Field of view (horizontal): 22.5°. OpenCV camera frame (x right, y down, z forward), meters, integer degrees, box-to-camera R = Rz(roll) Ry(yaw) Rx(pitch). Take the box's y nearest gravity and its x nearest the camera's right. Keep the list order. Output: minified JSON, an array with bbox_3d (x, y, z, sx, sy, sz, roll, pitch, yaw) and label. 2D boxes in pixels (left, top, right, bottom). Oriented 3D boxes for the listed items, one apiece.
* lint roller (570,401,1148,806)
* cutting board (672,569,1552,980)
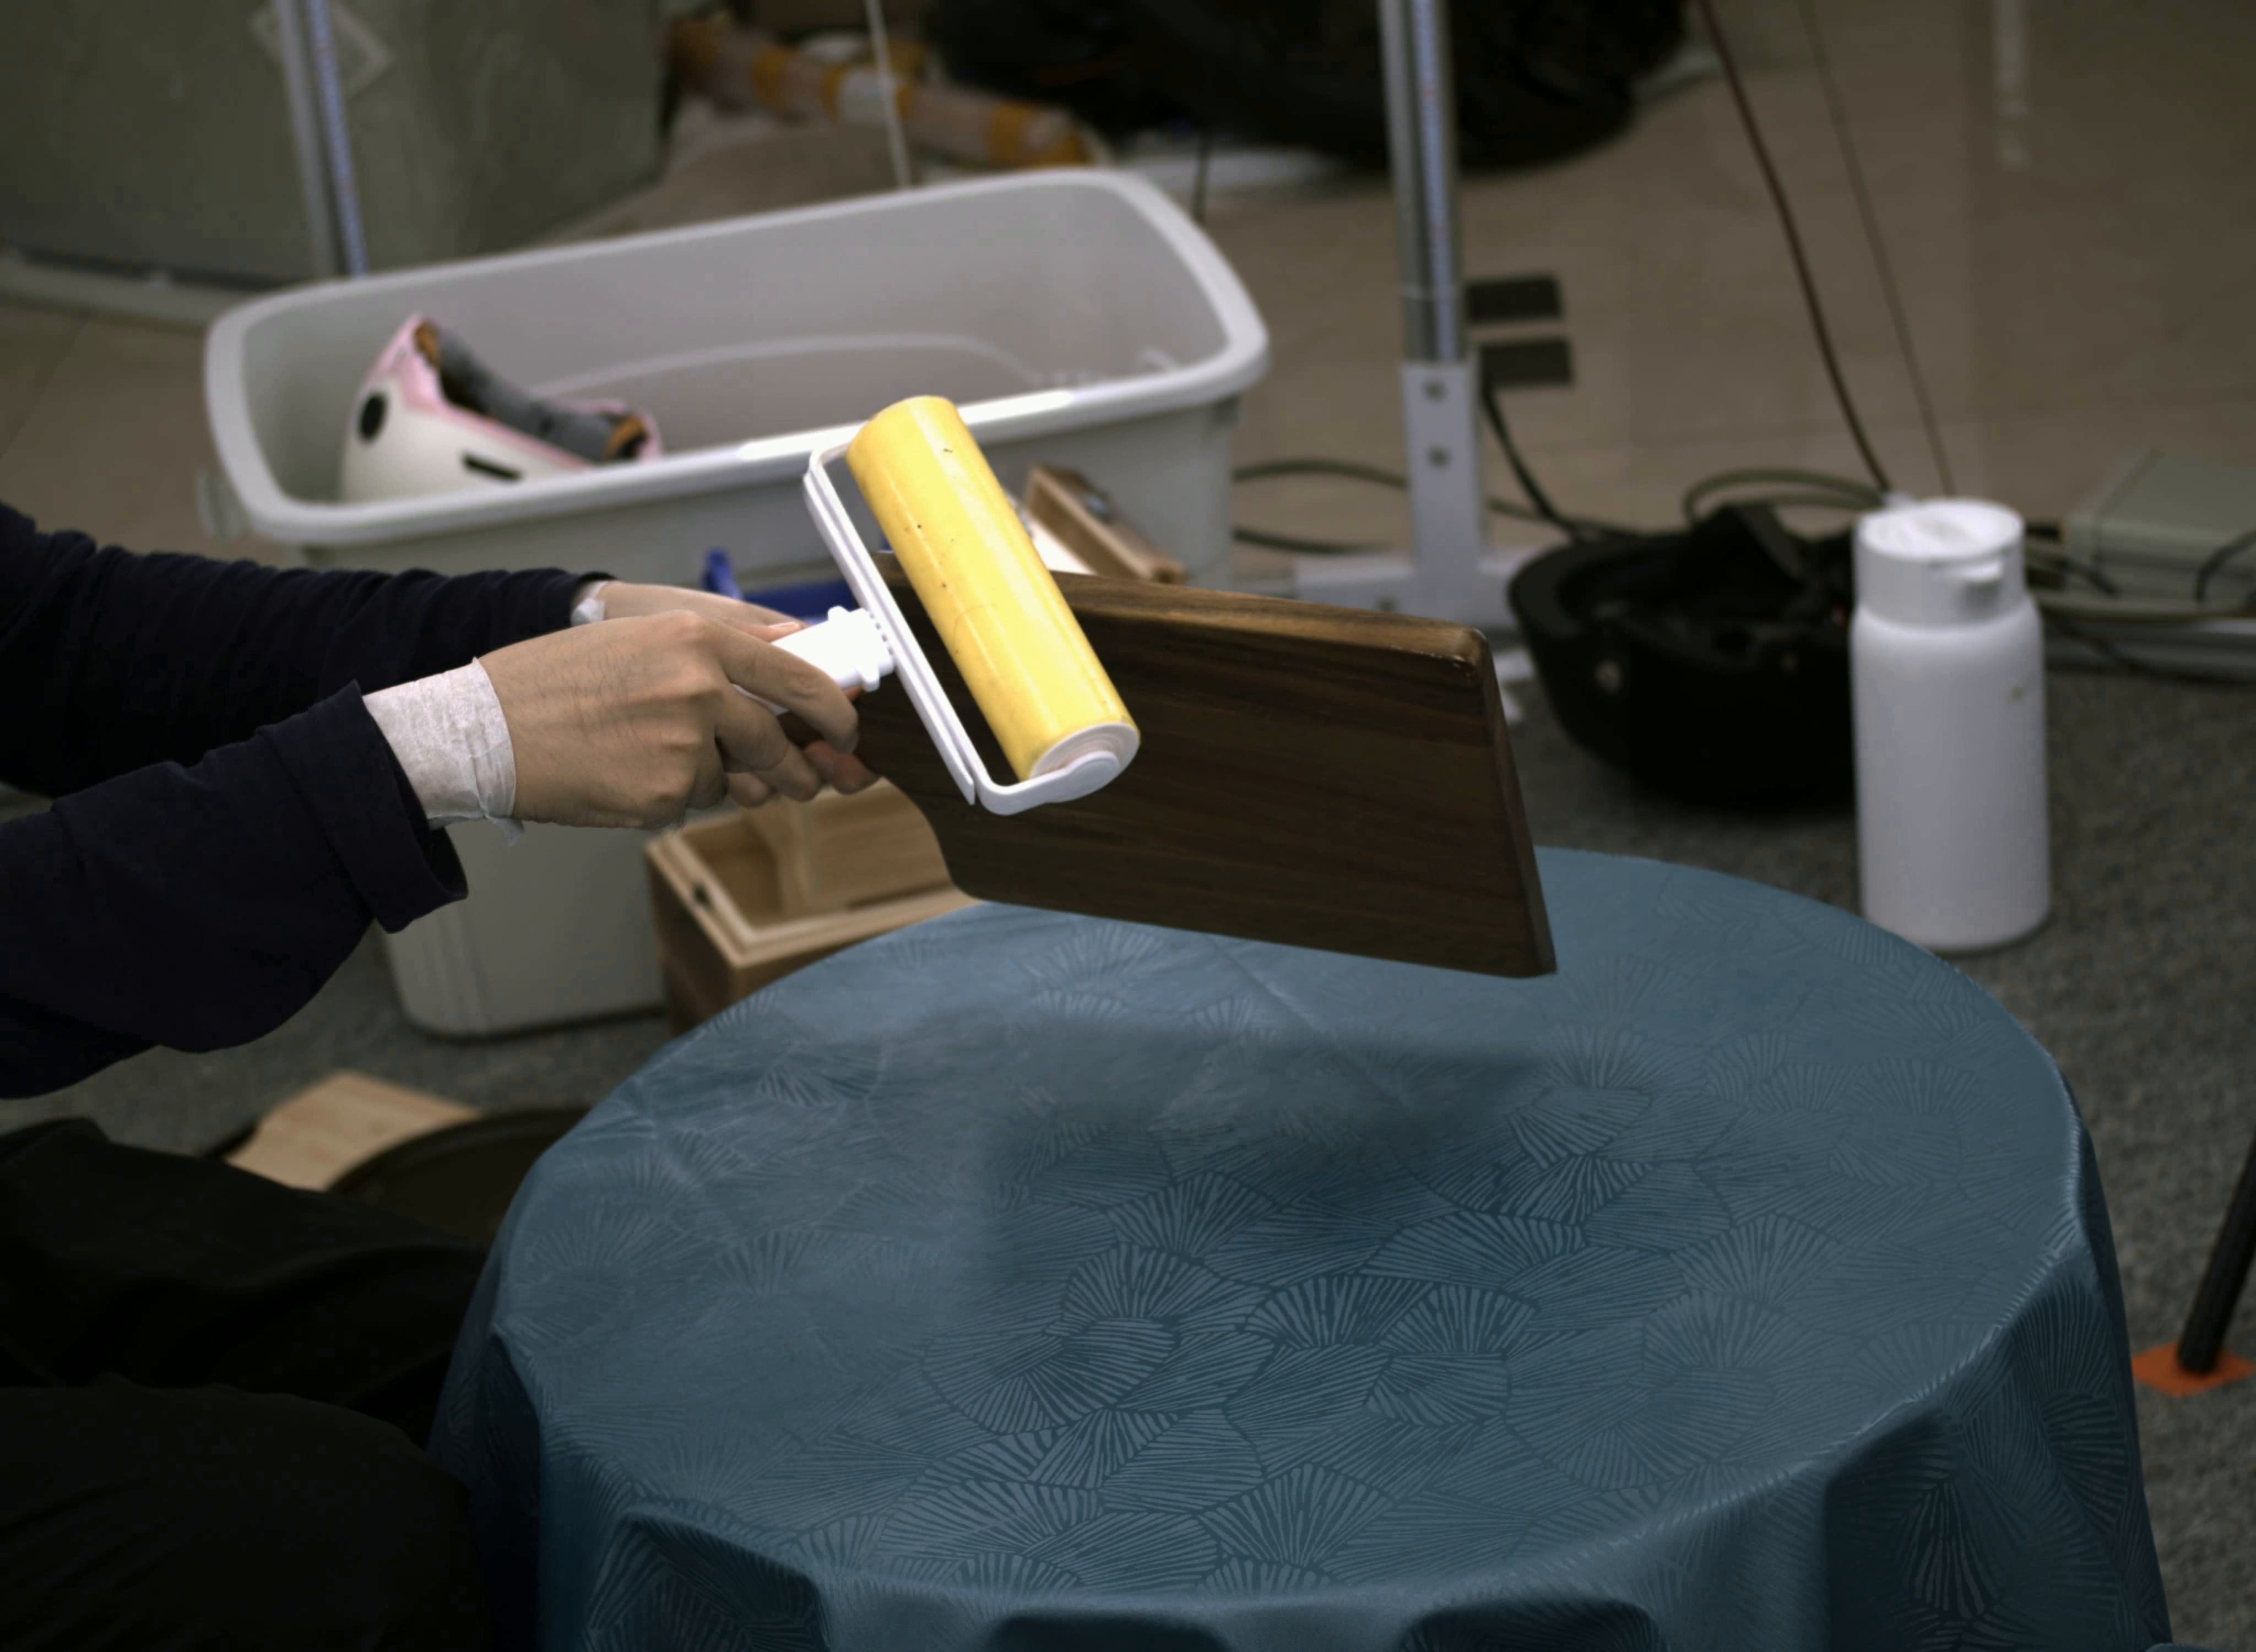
[{"bbox_3d":[-0.112,-0.064,2.058,0.191,0.052,0.172,-17,59,-25],"label":"lint roller"},{"bbox_3d":[-0.015,-0.028,2.188,0.351,0.205,0.023,8,55,19],"label":"cutting board"}]
